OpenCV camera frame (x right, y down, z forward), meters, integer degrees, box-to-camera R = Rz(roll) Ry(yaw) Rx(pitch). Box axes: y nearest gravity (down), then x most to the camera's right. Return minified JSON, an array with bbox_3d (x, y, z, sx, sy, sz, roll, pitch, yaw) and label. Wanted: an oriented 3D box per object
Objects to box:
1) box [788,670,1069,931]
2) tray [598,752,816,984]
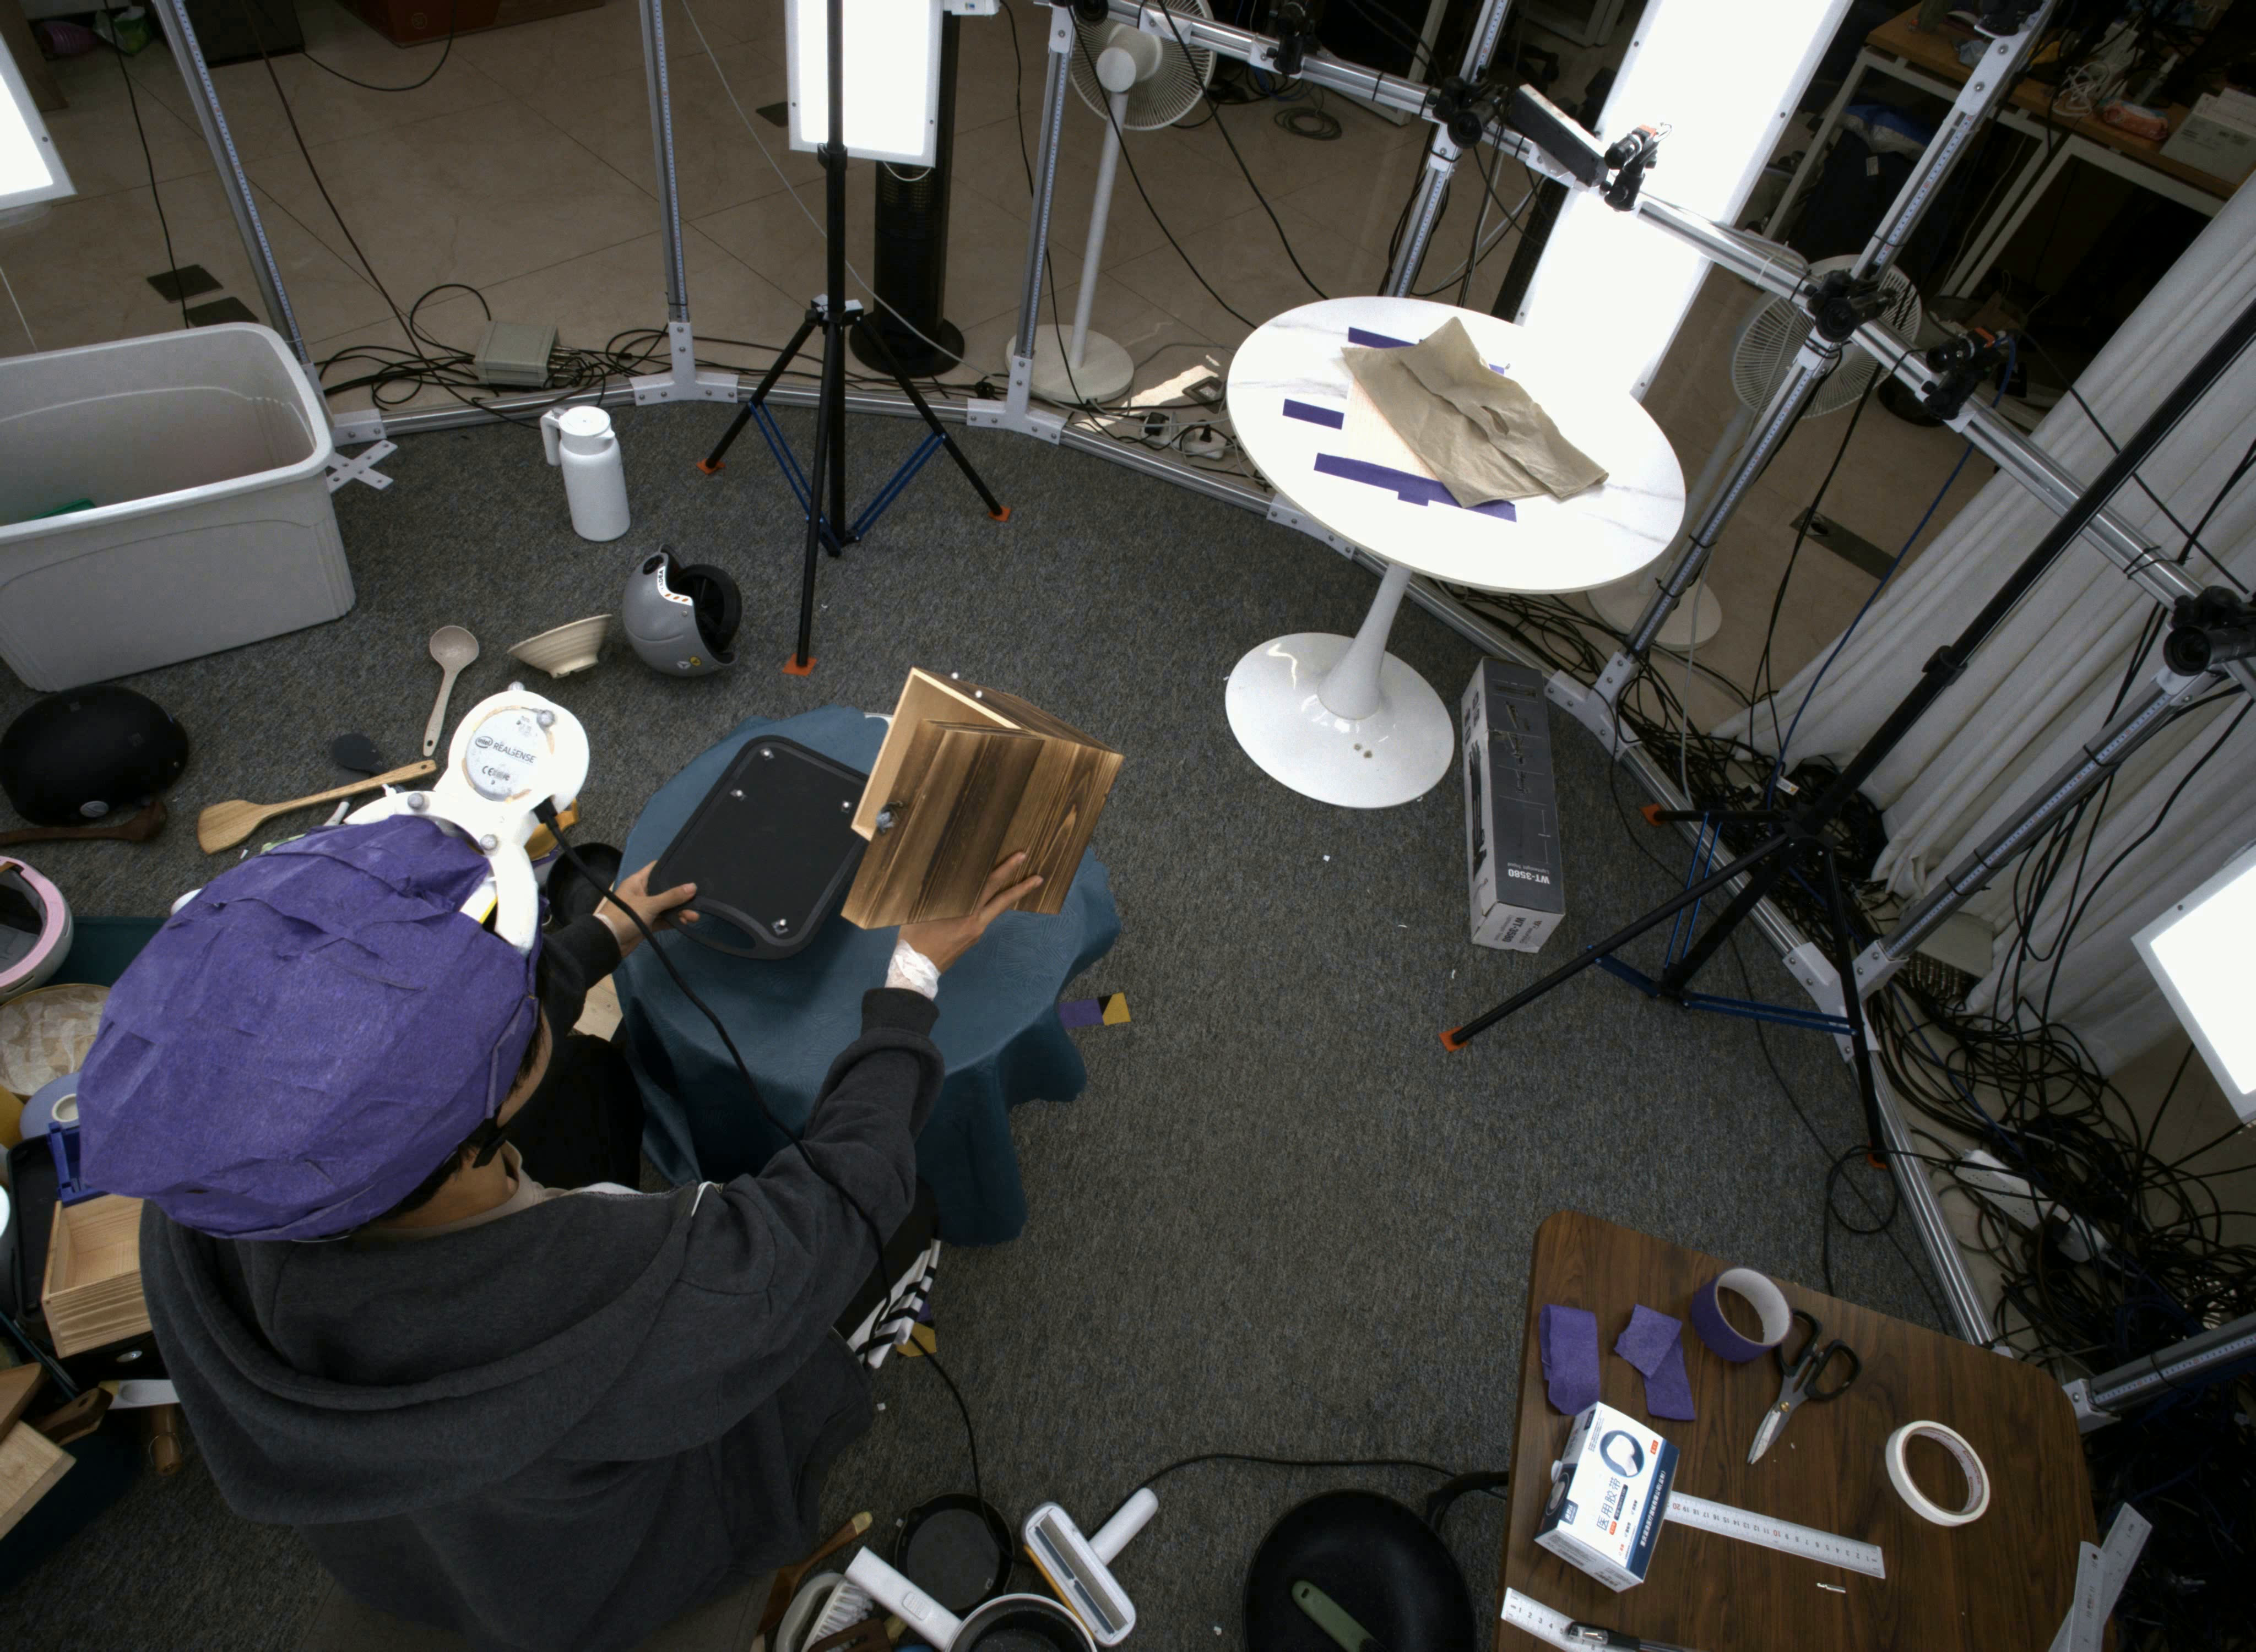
[{"bbox_3d":[-0.243,-0.028,1.355,0.310,0.211,0.385,27,9,36],"label":"box"},{"bbox_3d":[-0.494,0.045,1.558,0.211,0.010,0.321,23,50,-5],"label":"tray"}]
